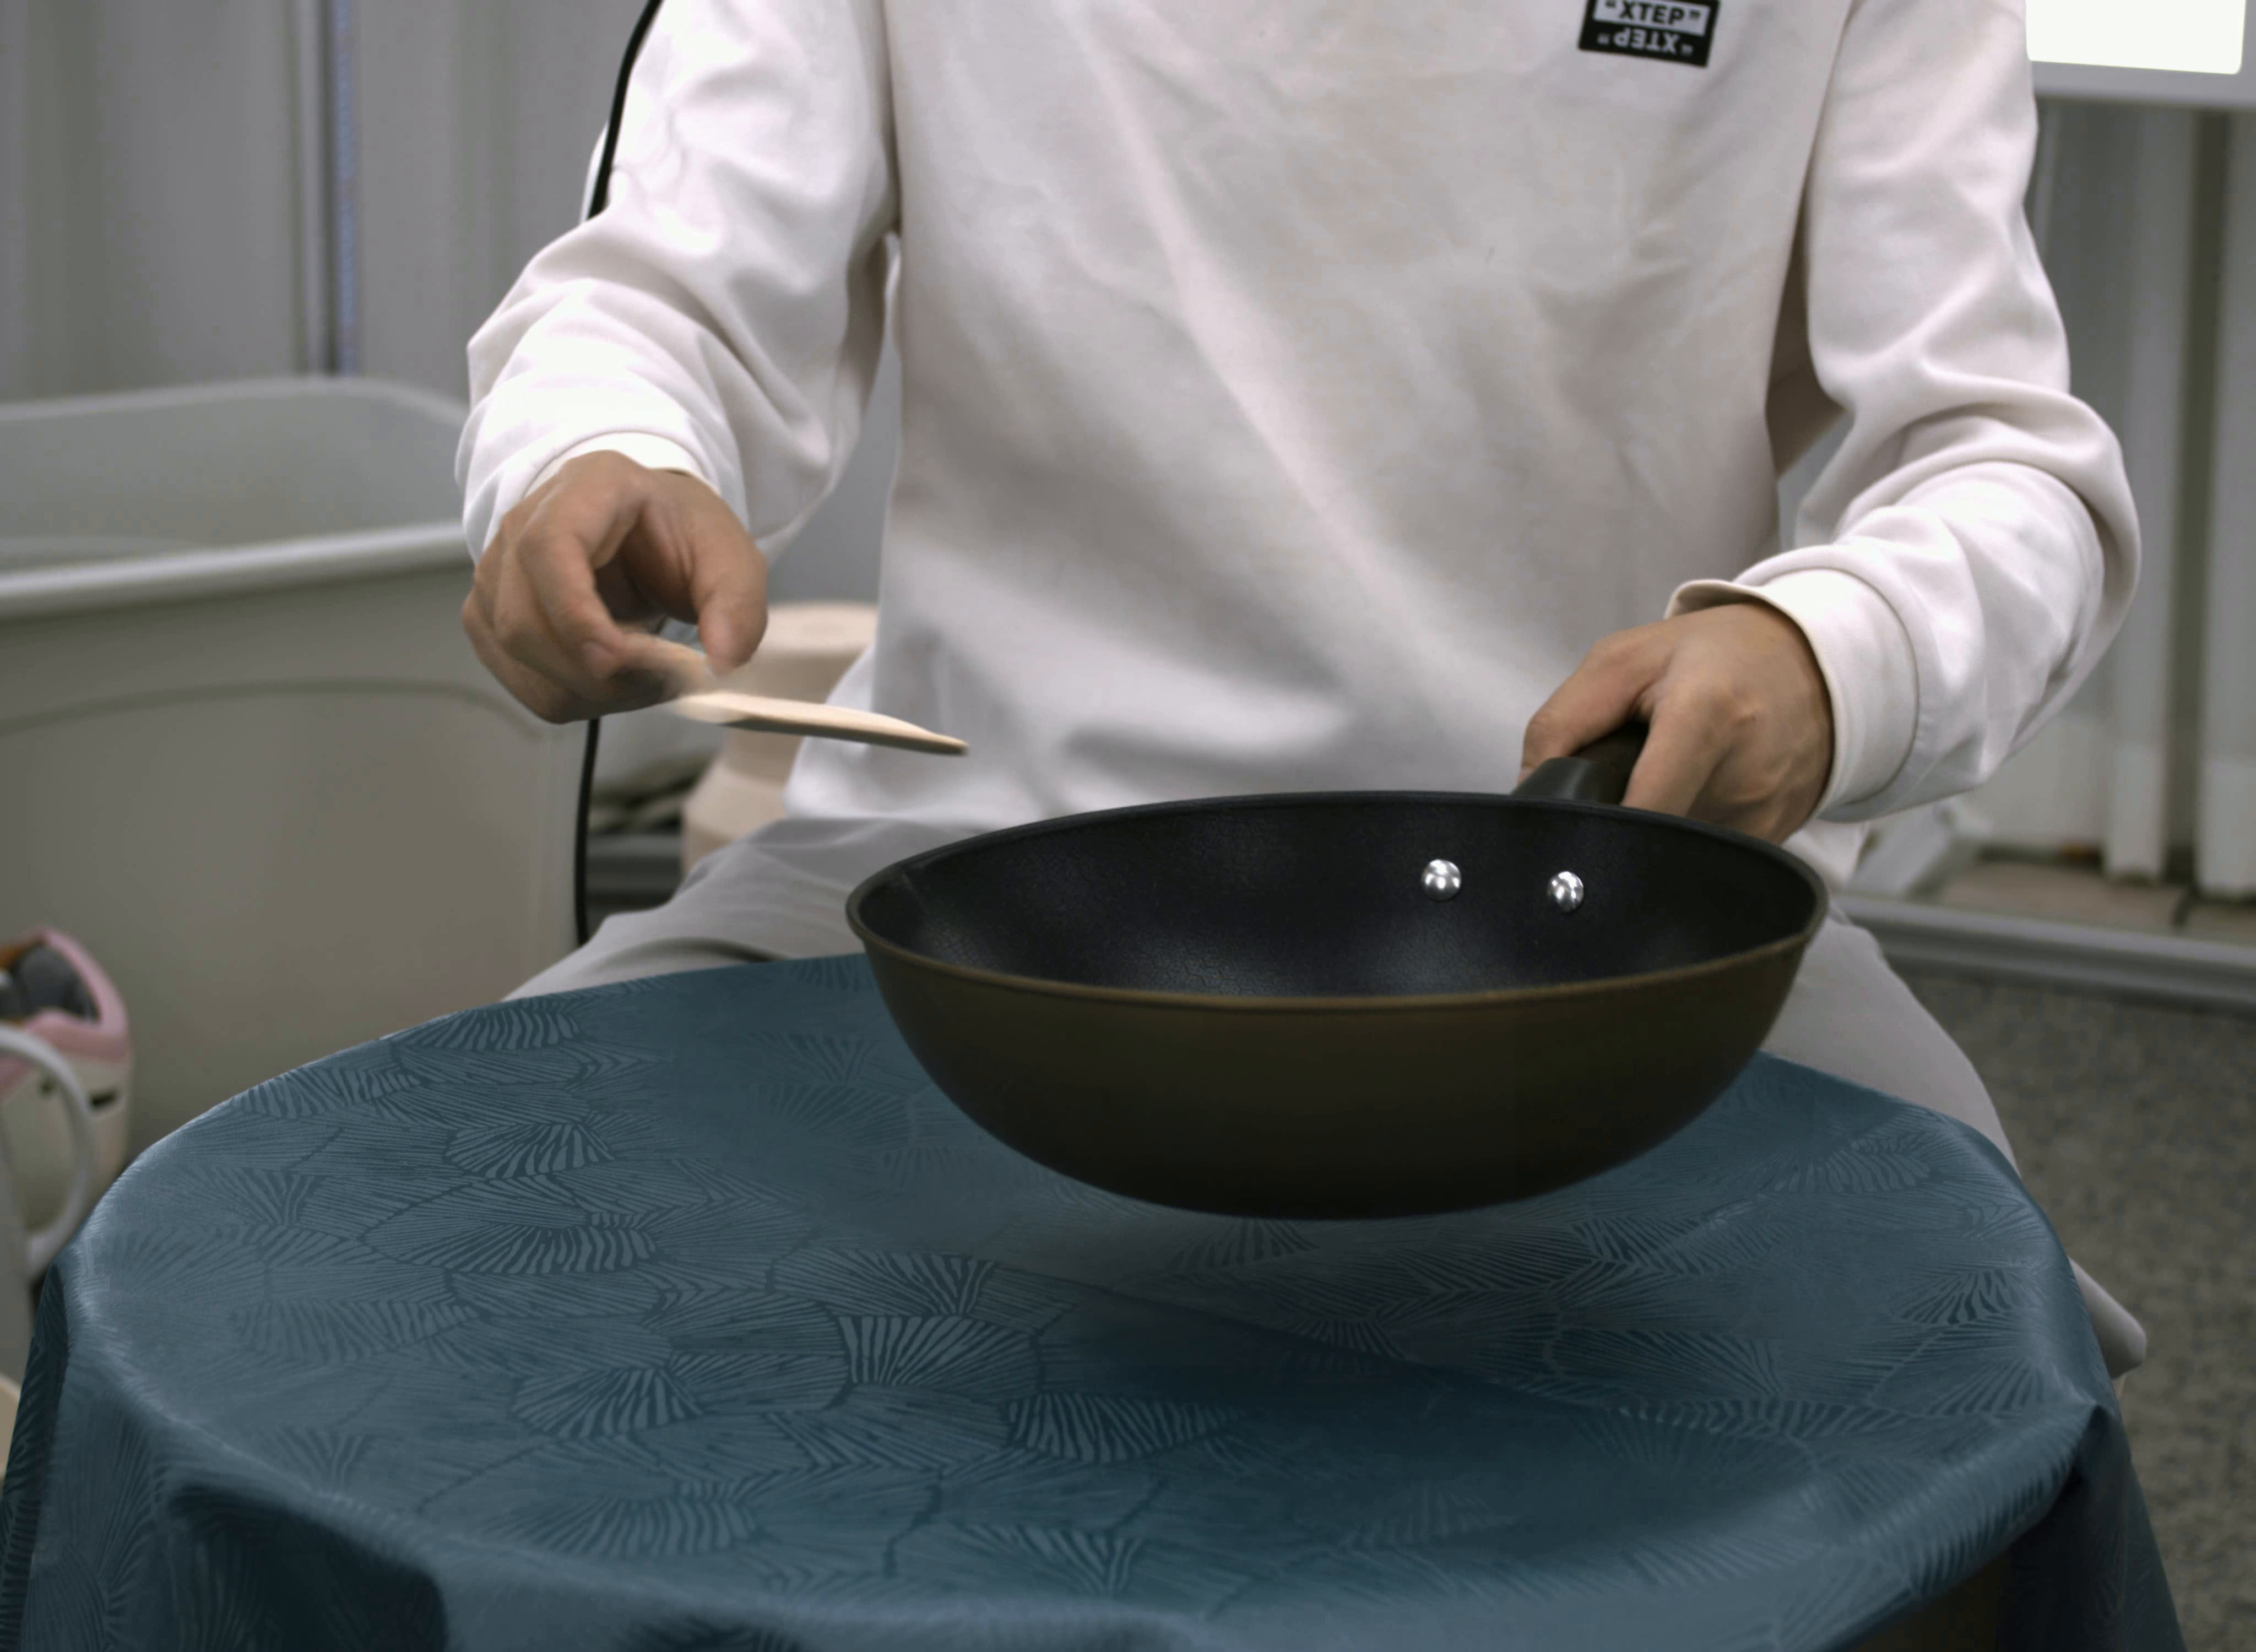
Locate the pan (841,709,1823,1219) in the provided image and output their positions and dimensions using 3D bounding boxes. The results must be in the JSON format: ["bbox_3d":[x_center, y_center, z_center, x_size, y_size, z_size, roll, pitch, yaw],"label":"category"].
[{"bbox_3d":[0.099,0.038,1.602,0.285,0.087,0.465,5,12,25],"label":"pan"}]

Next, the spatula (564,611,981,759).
[{"bbox_3d":[-0.124,-0.045,1.591,0.072,0.011,0.290,8,6,-22],"label":"spatula"}]
